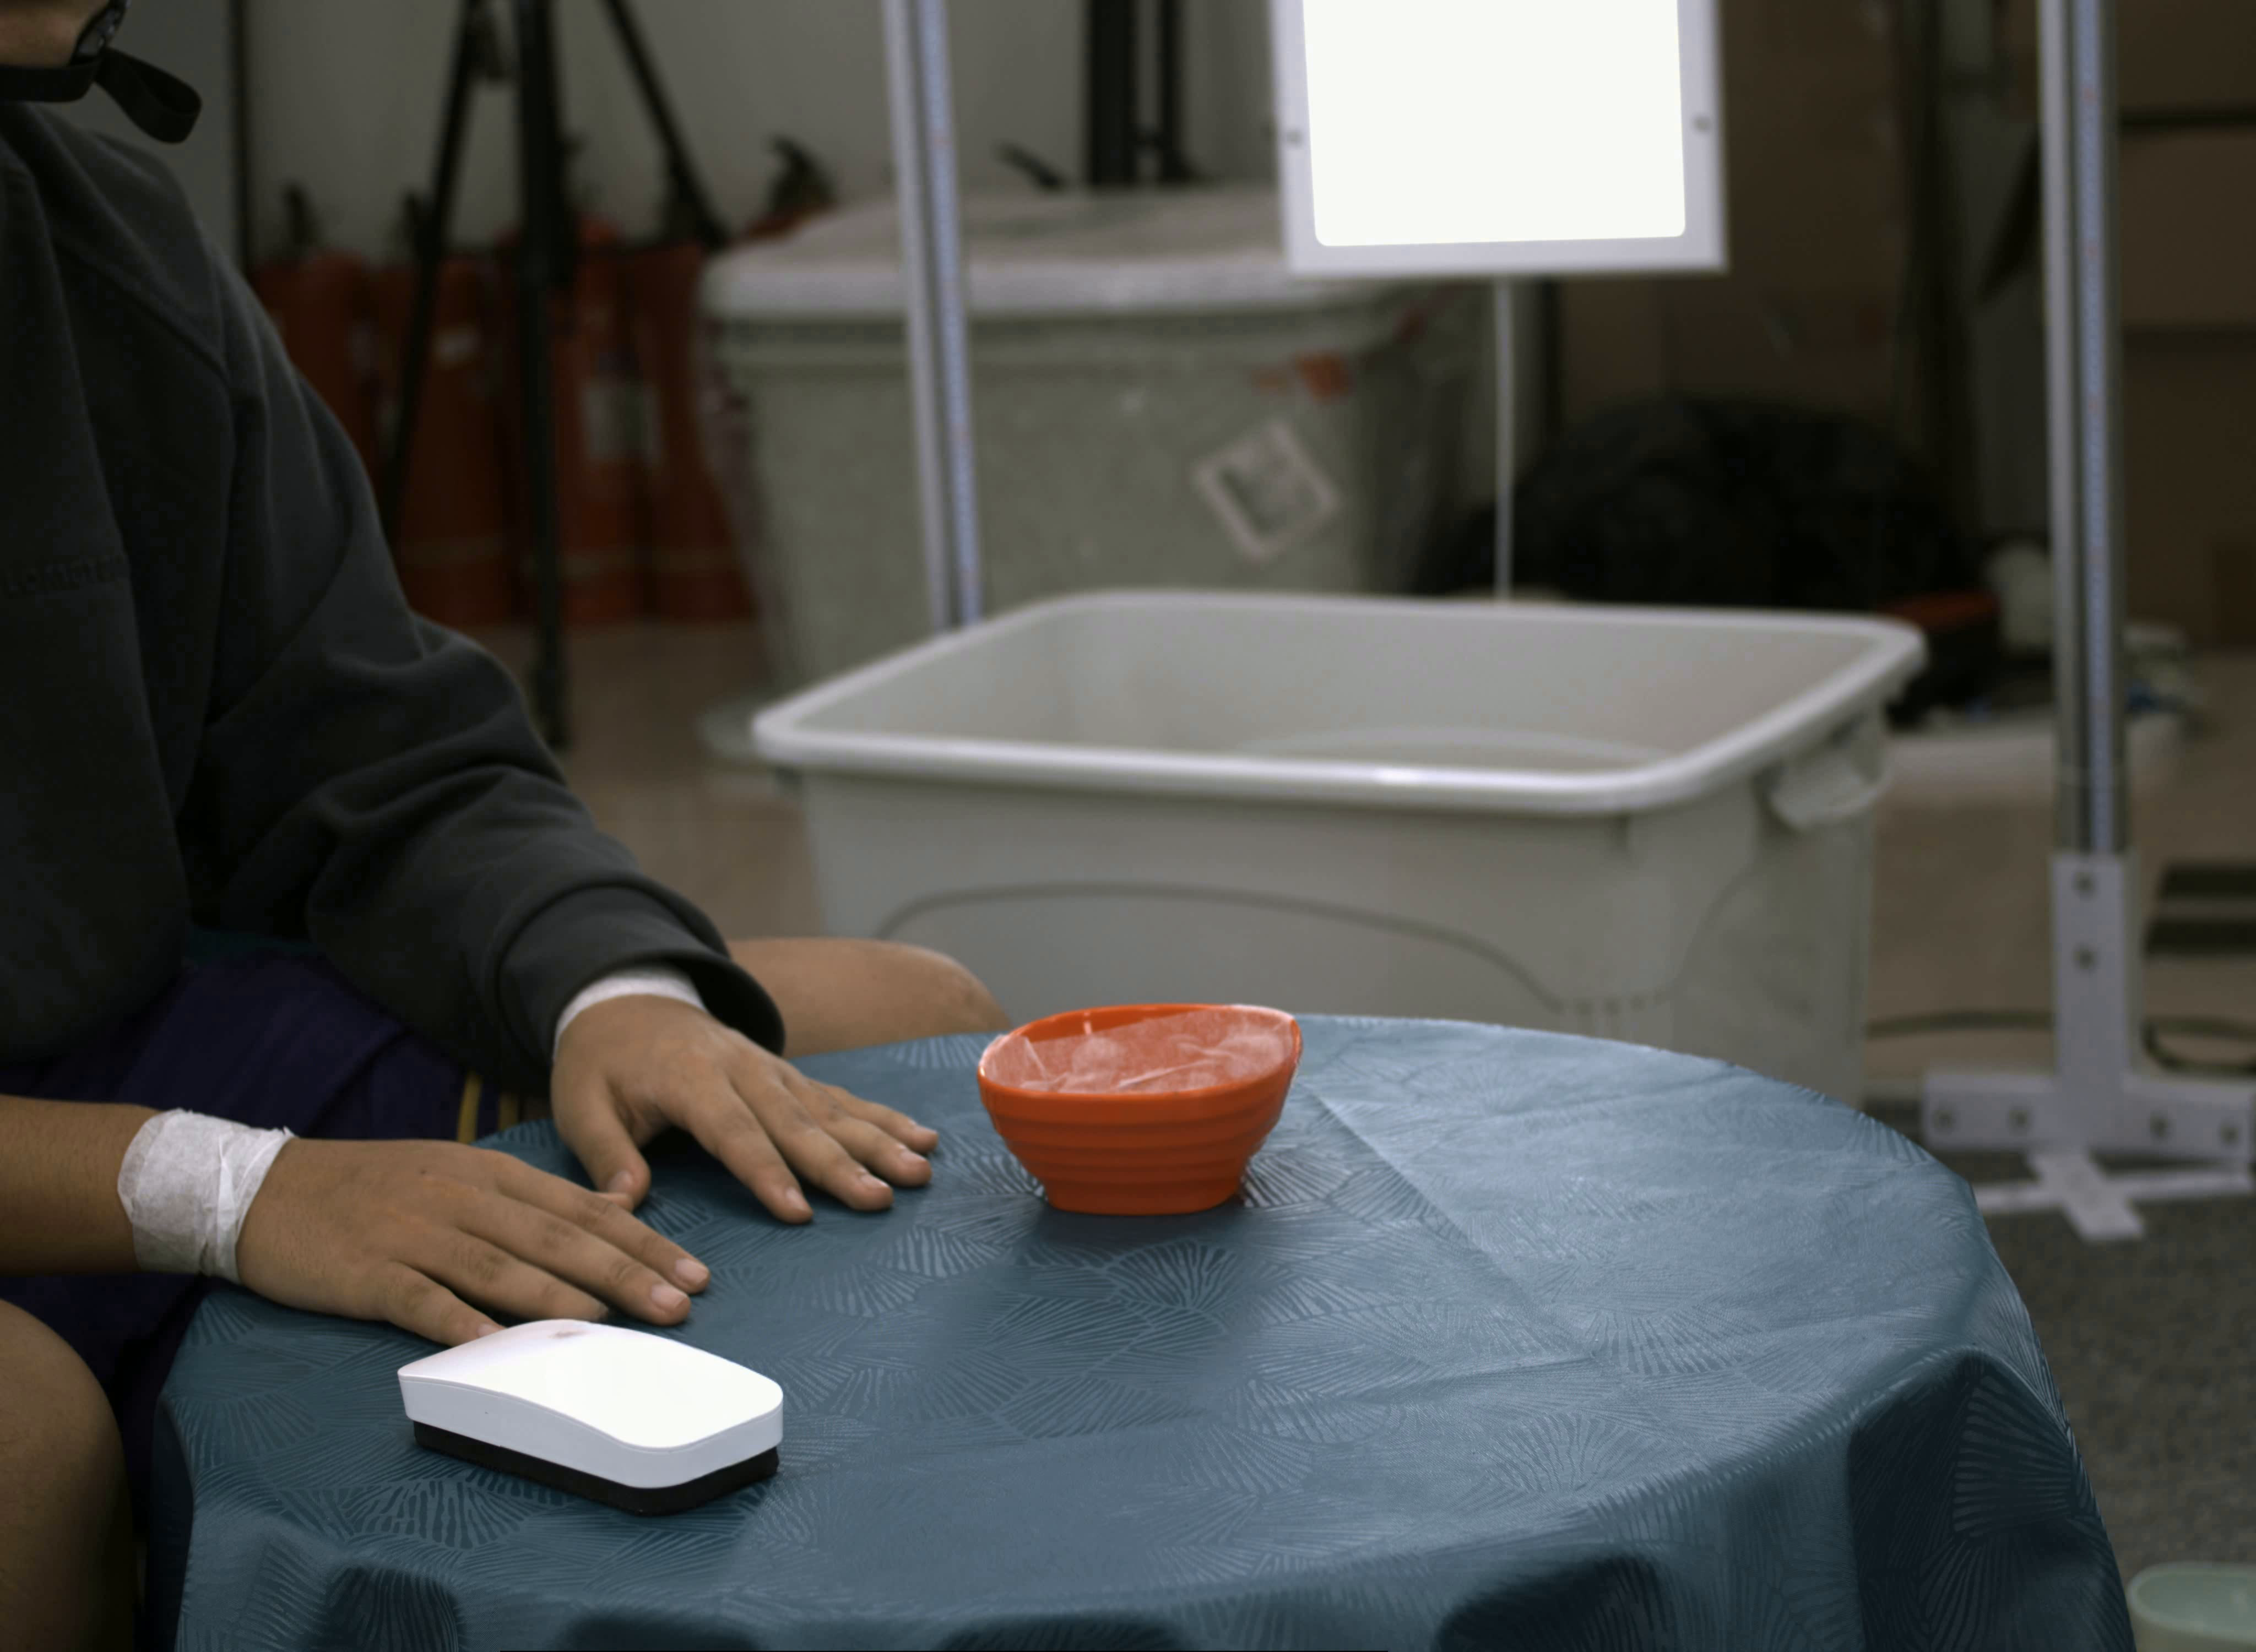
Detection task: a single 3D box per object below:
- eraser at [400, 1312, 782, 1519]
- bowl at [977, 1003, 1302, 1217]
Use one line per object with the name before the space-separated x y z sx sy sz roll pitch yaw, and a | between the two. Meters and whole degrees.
eraser | -0.163 0.176 1.685 0.062 0.034 0.134 -14 18 -40
bowl | 0.006 0.100 1.896 0.118 0.051 0.119 -6 14 0
